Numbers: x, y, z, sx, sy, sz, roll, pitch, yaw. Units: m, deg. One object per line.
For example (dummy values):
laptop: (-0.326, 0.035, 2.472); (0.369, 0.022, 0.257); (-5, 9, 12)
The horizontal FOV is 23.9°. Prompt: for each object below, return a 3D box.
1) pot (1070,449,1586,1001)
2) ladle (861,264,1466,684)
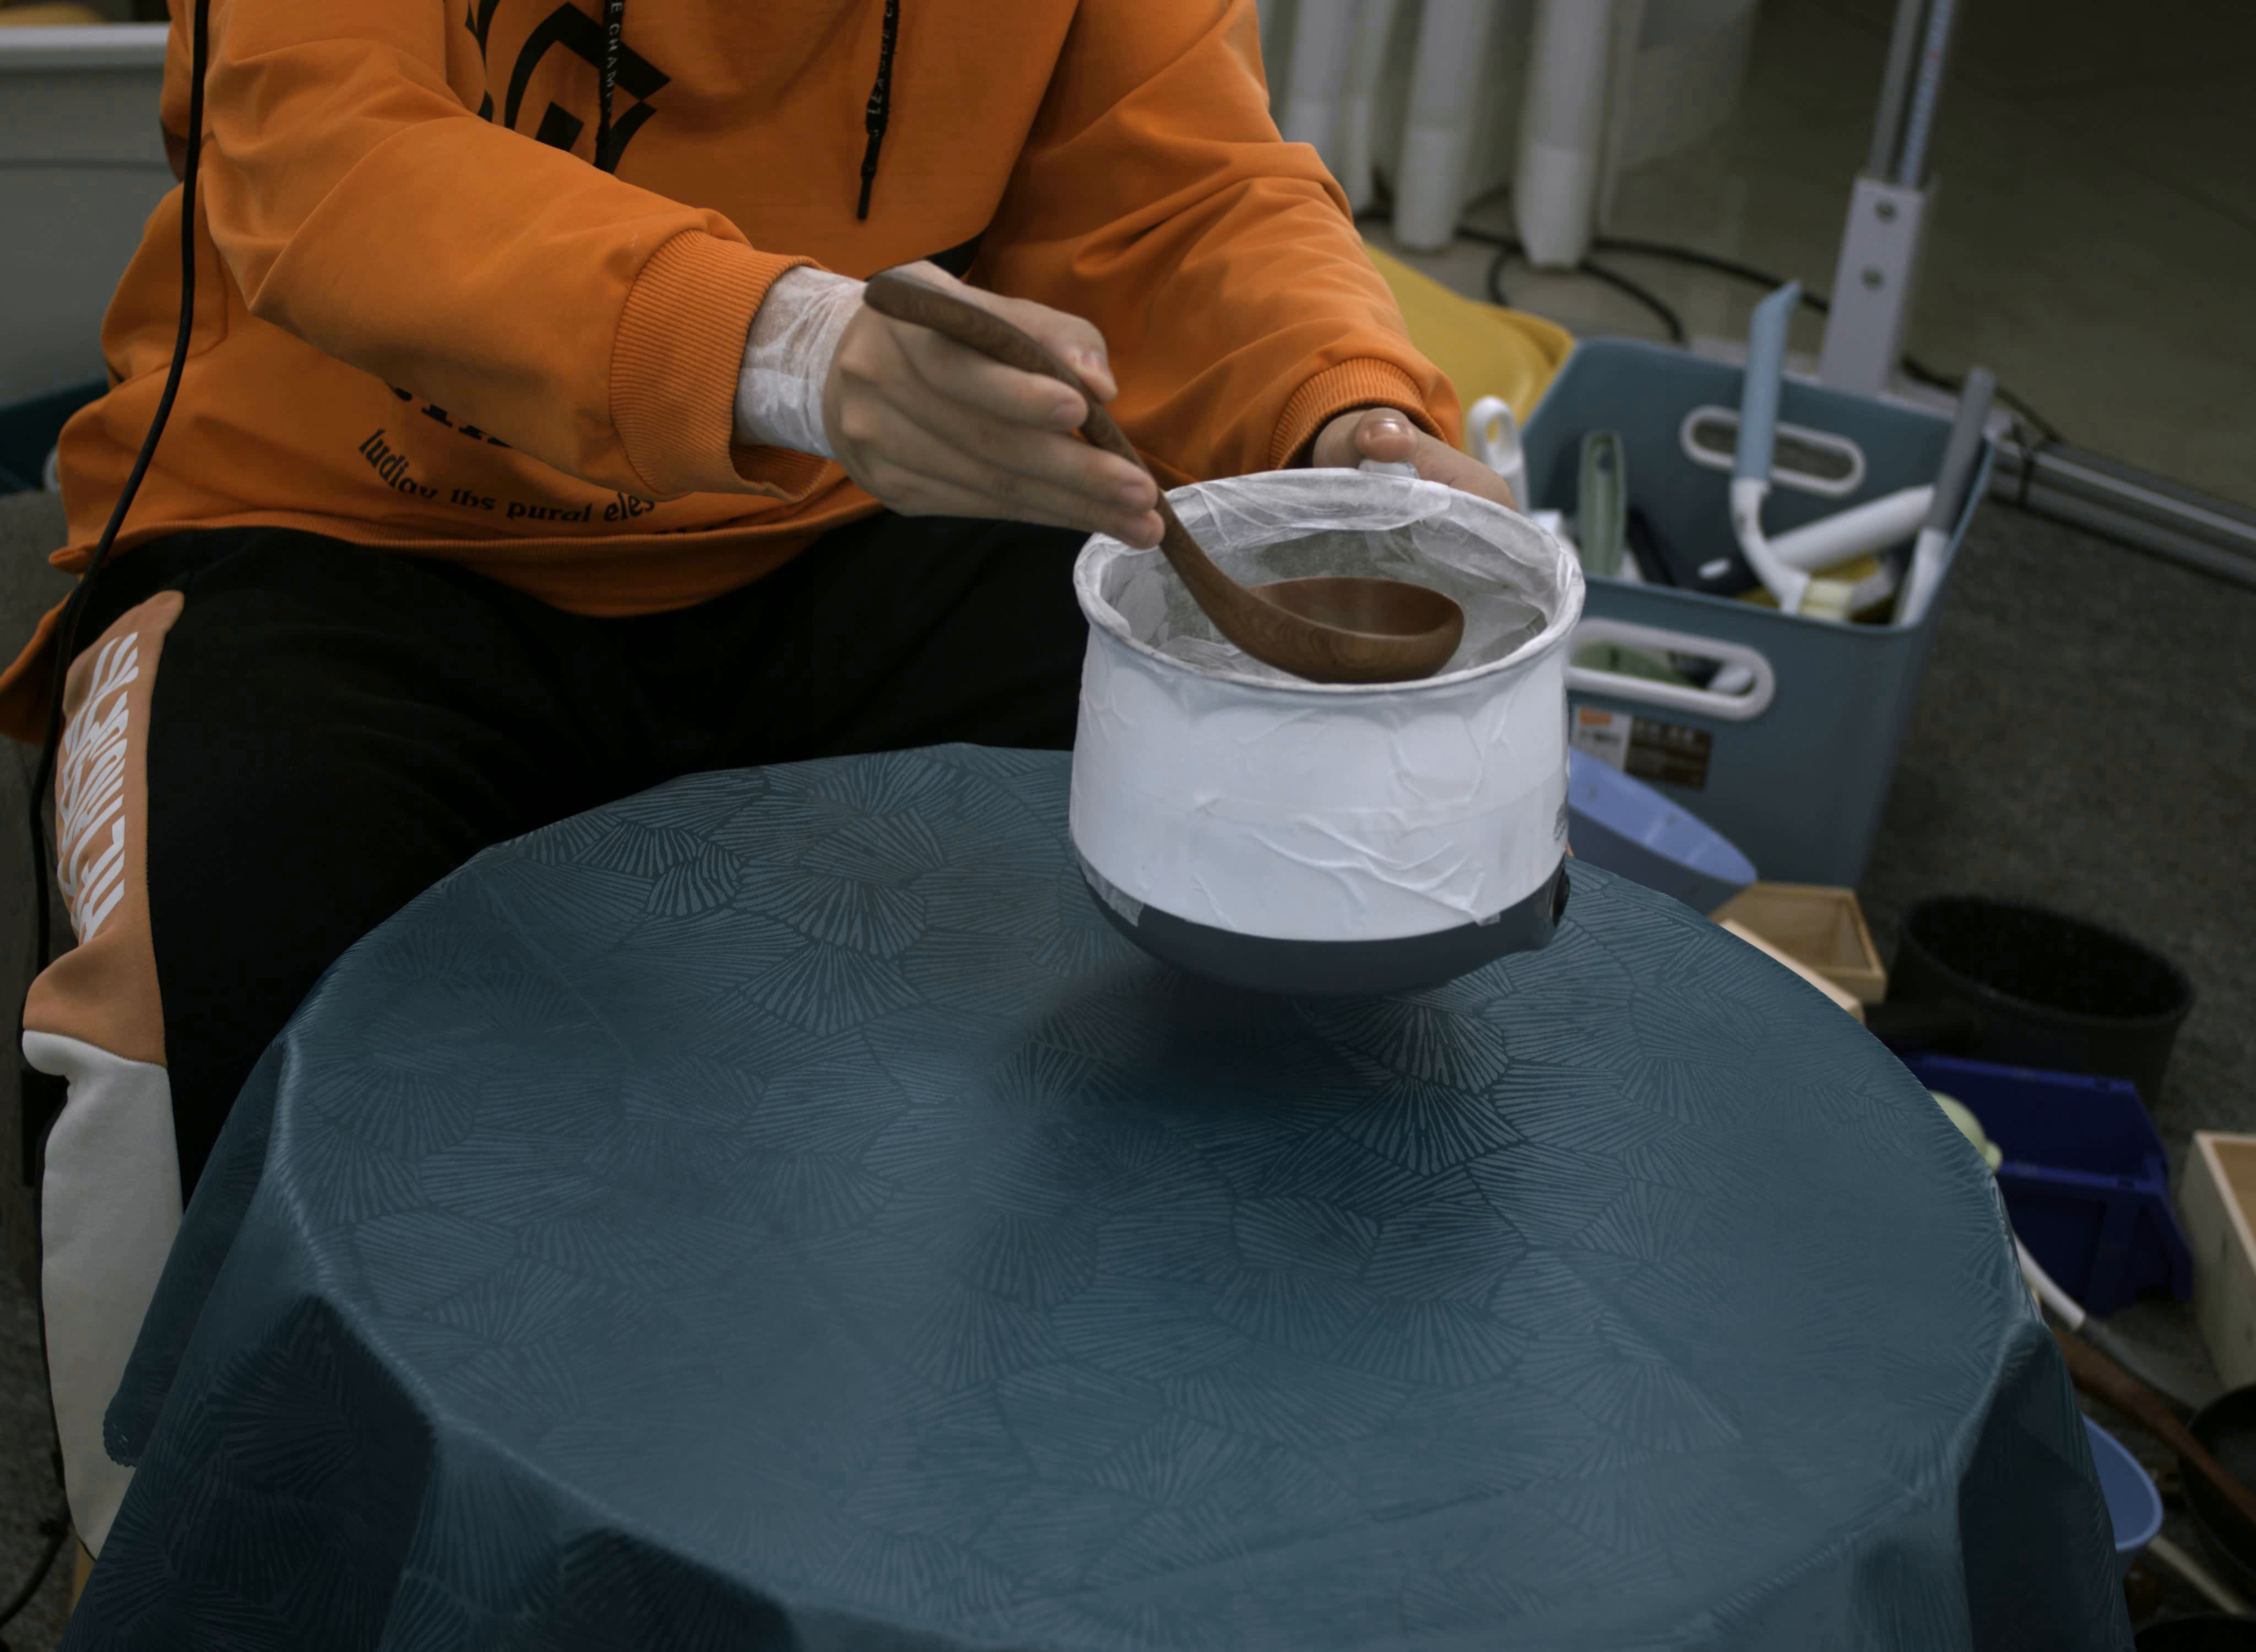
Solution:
pot: (0.074, -0.043, 1.890); (0.179, 0.136, 0.234); (7, 28, 10)
ladle: (0.015, -0.123, 1.757); (0.258, 0.065, 0.077); (42, -10, -32)
